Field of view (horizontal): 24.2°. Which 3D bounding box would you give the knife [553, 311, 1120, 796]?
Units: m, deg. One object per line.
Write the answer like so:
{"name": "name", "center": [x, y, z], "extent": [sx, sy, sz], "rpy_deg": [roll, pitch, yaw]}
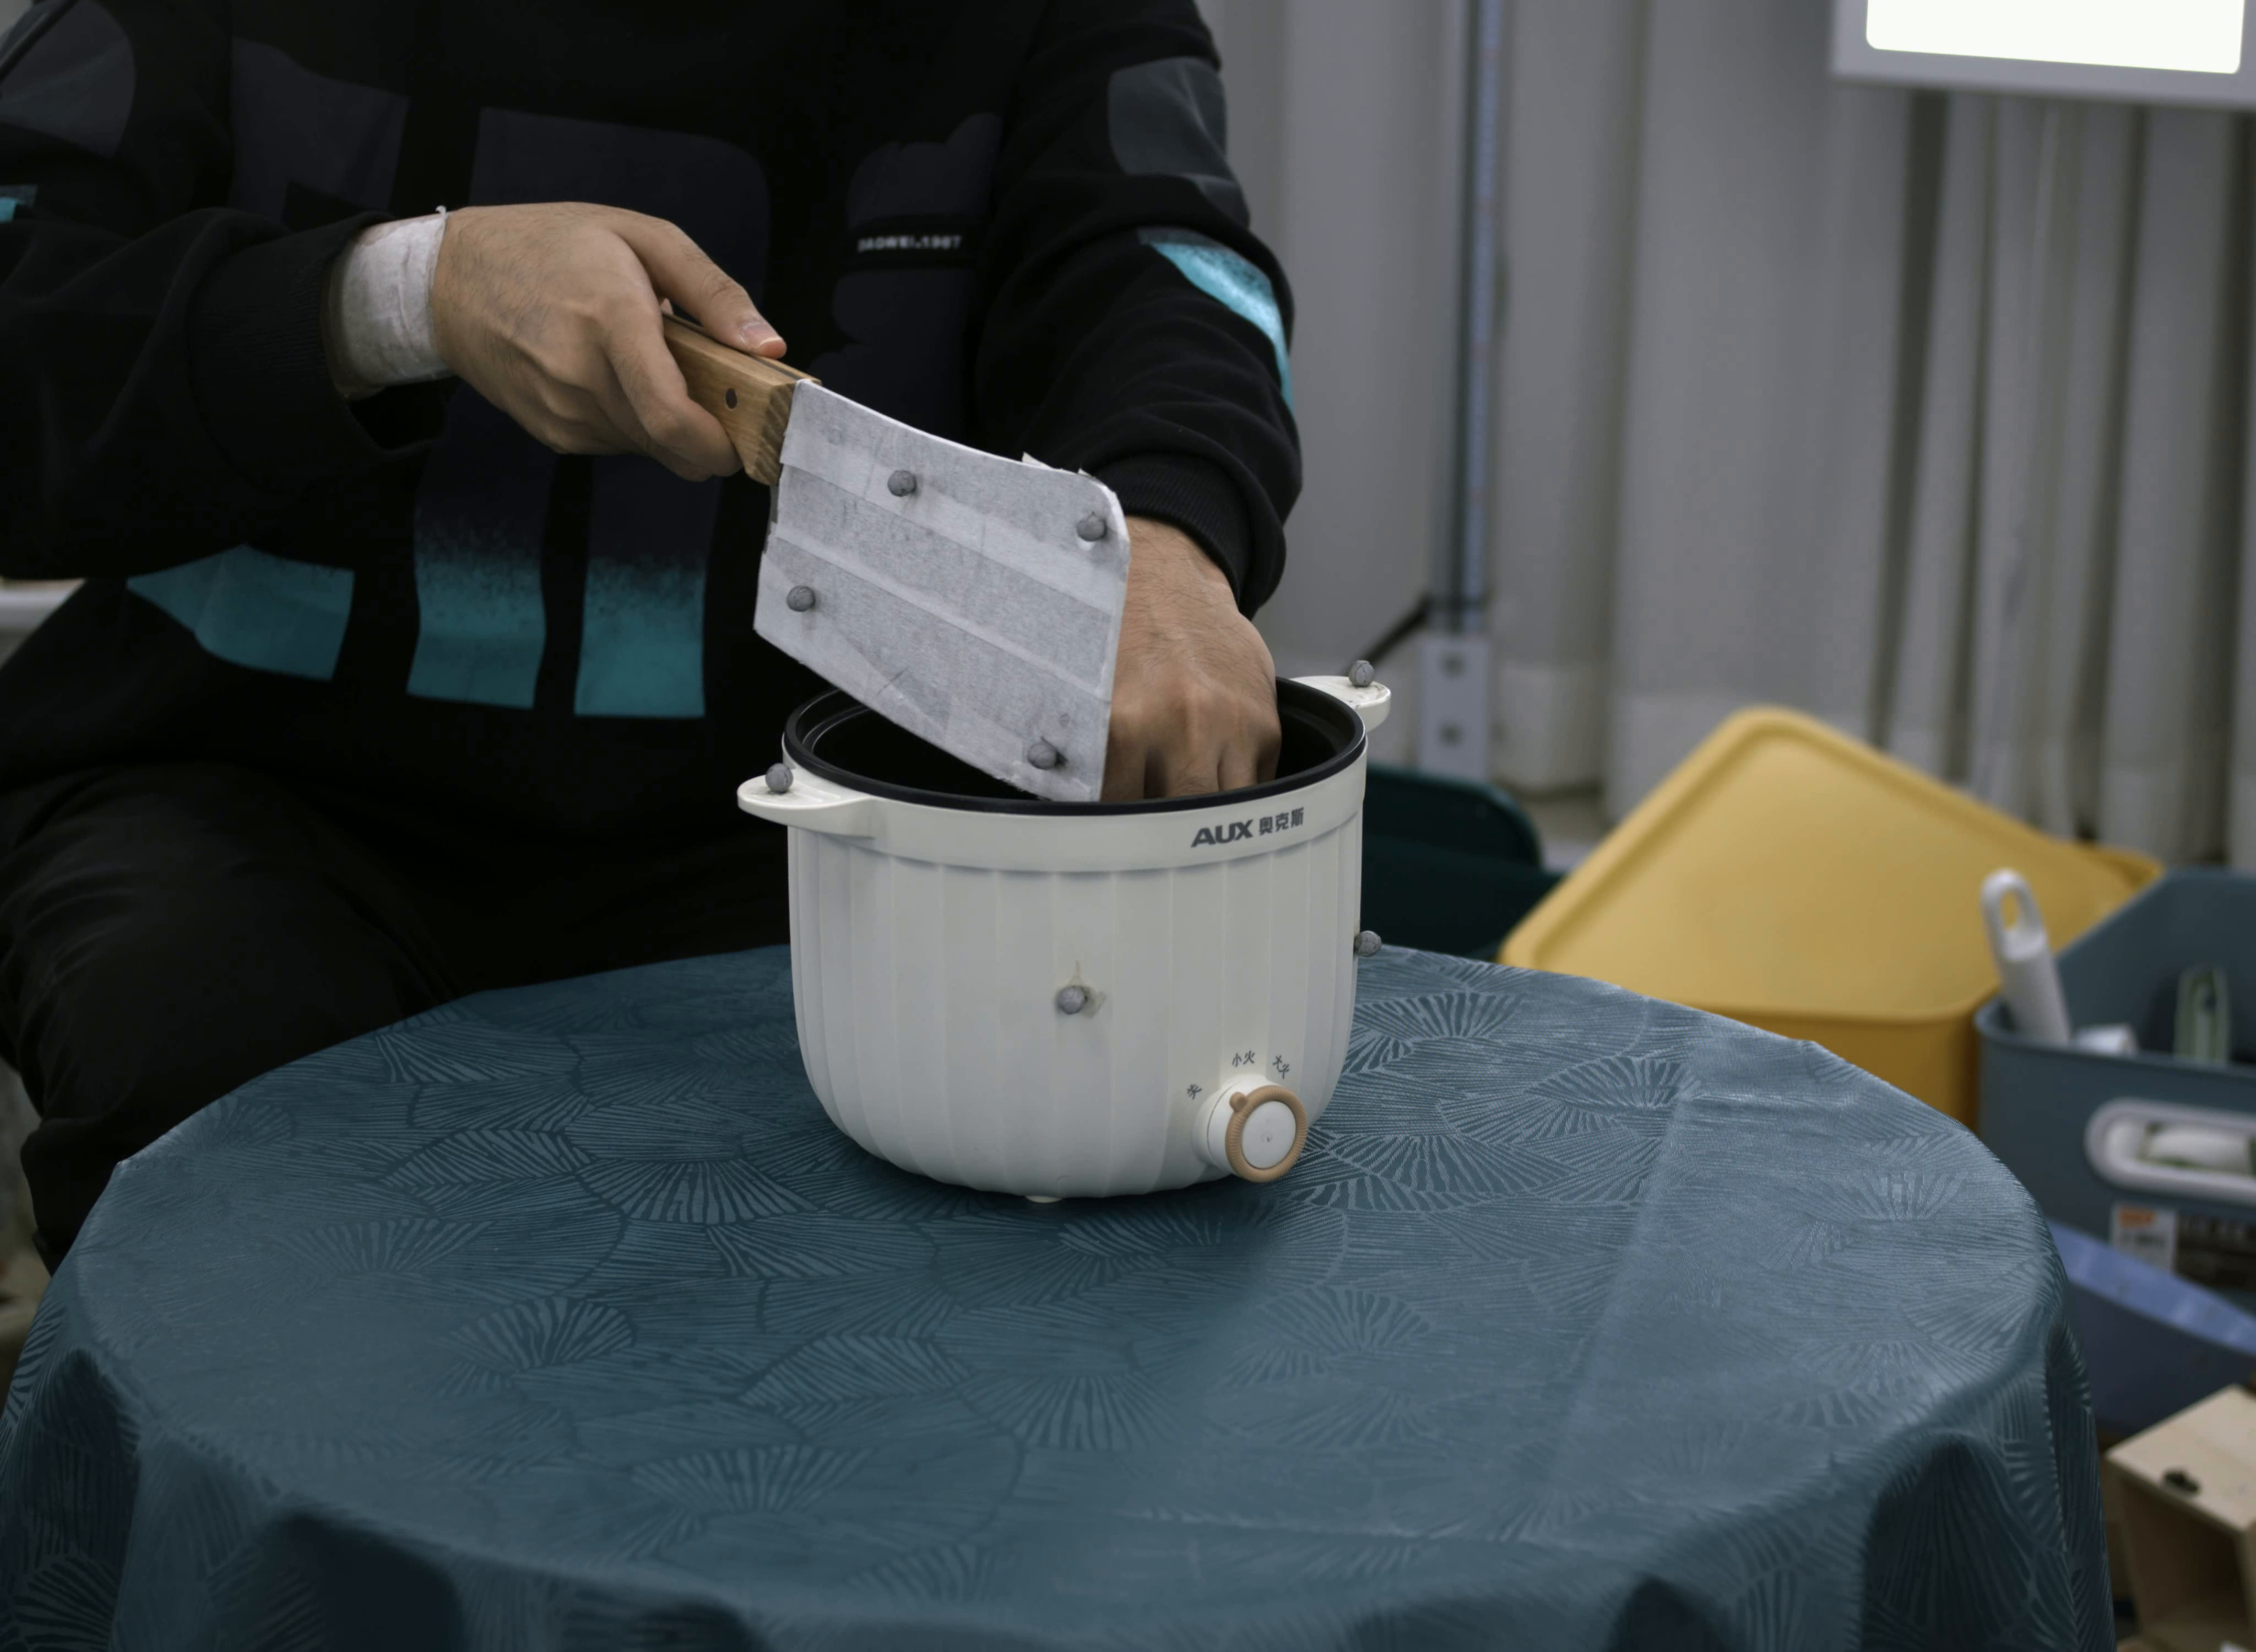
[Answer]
{"name": "knife", "center": [-0.094, -0.102, 1.648], "extent": [0.022, 0.115, 0.311], "rpy_deg": [-4, 25, -38]}

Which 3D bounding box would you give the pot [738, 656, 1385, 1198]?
{"name": "pot", "center": [-0.012, 0.033, 1.647], "extent": [0.241, 0.144, 0.188], "rpy_deg": [-12, 17, -35]}
